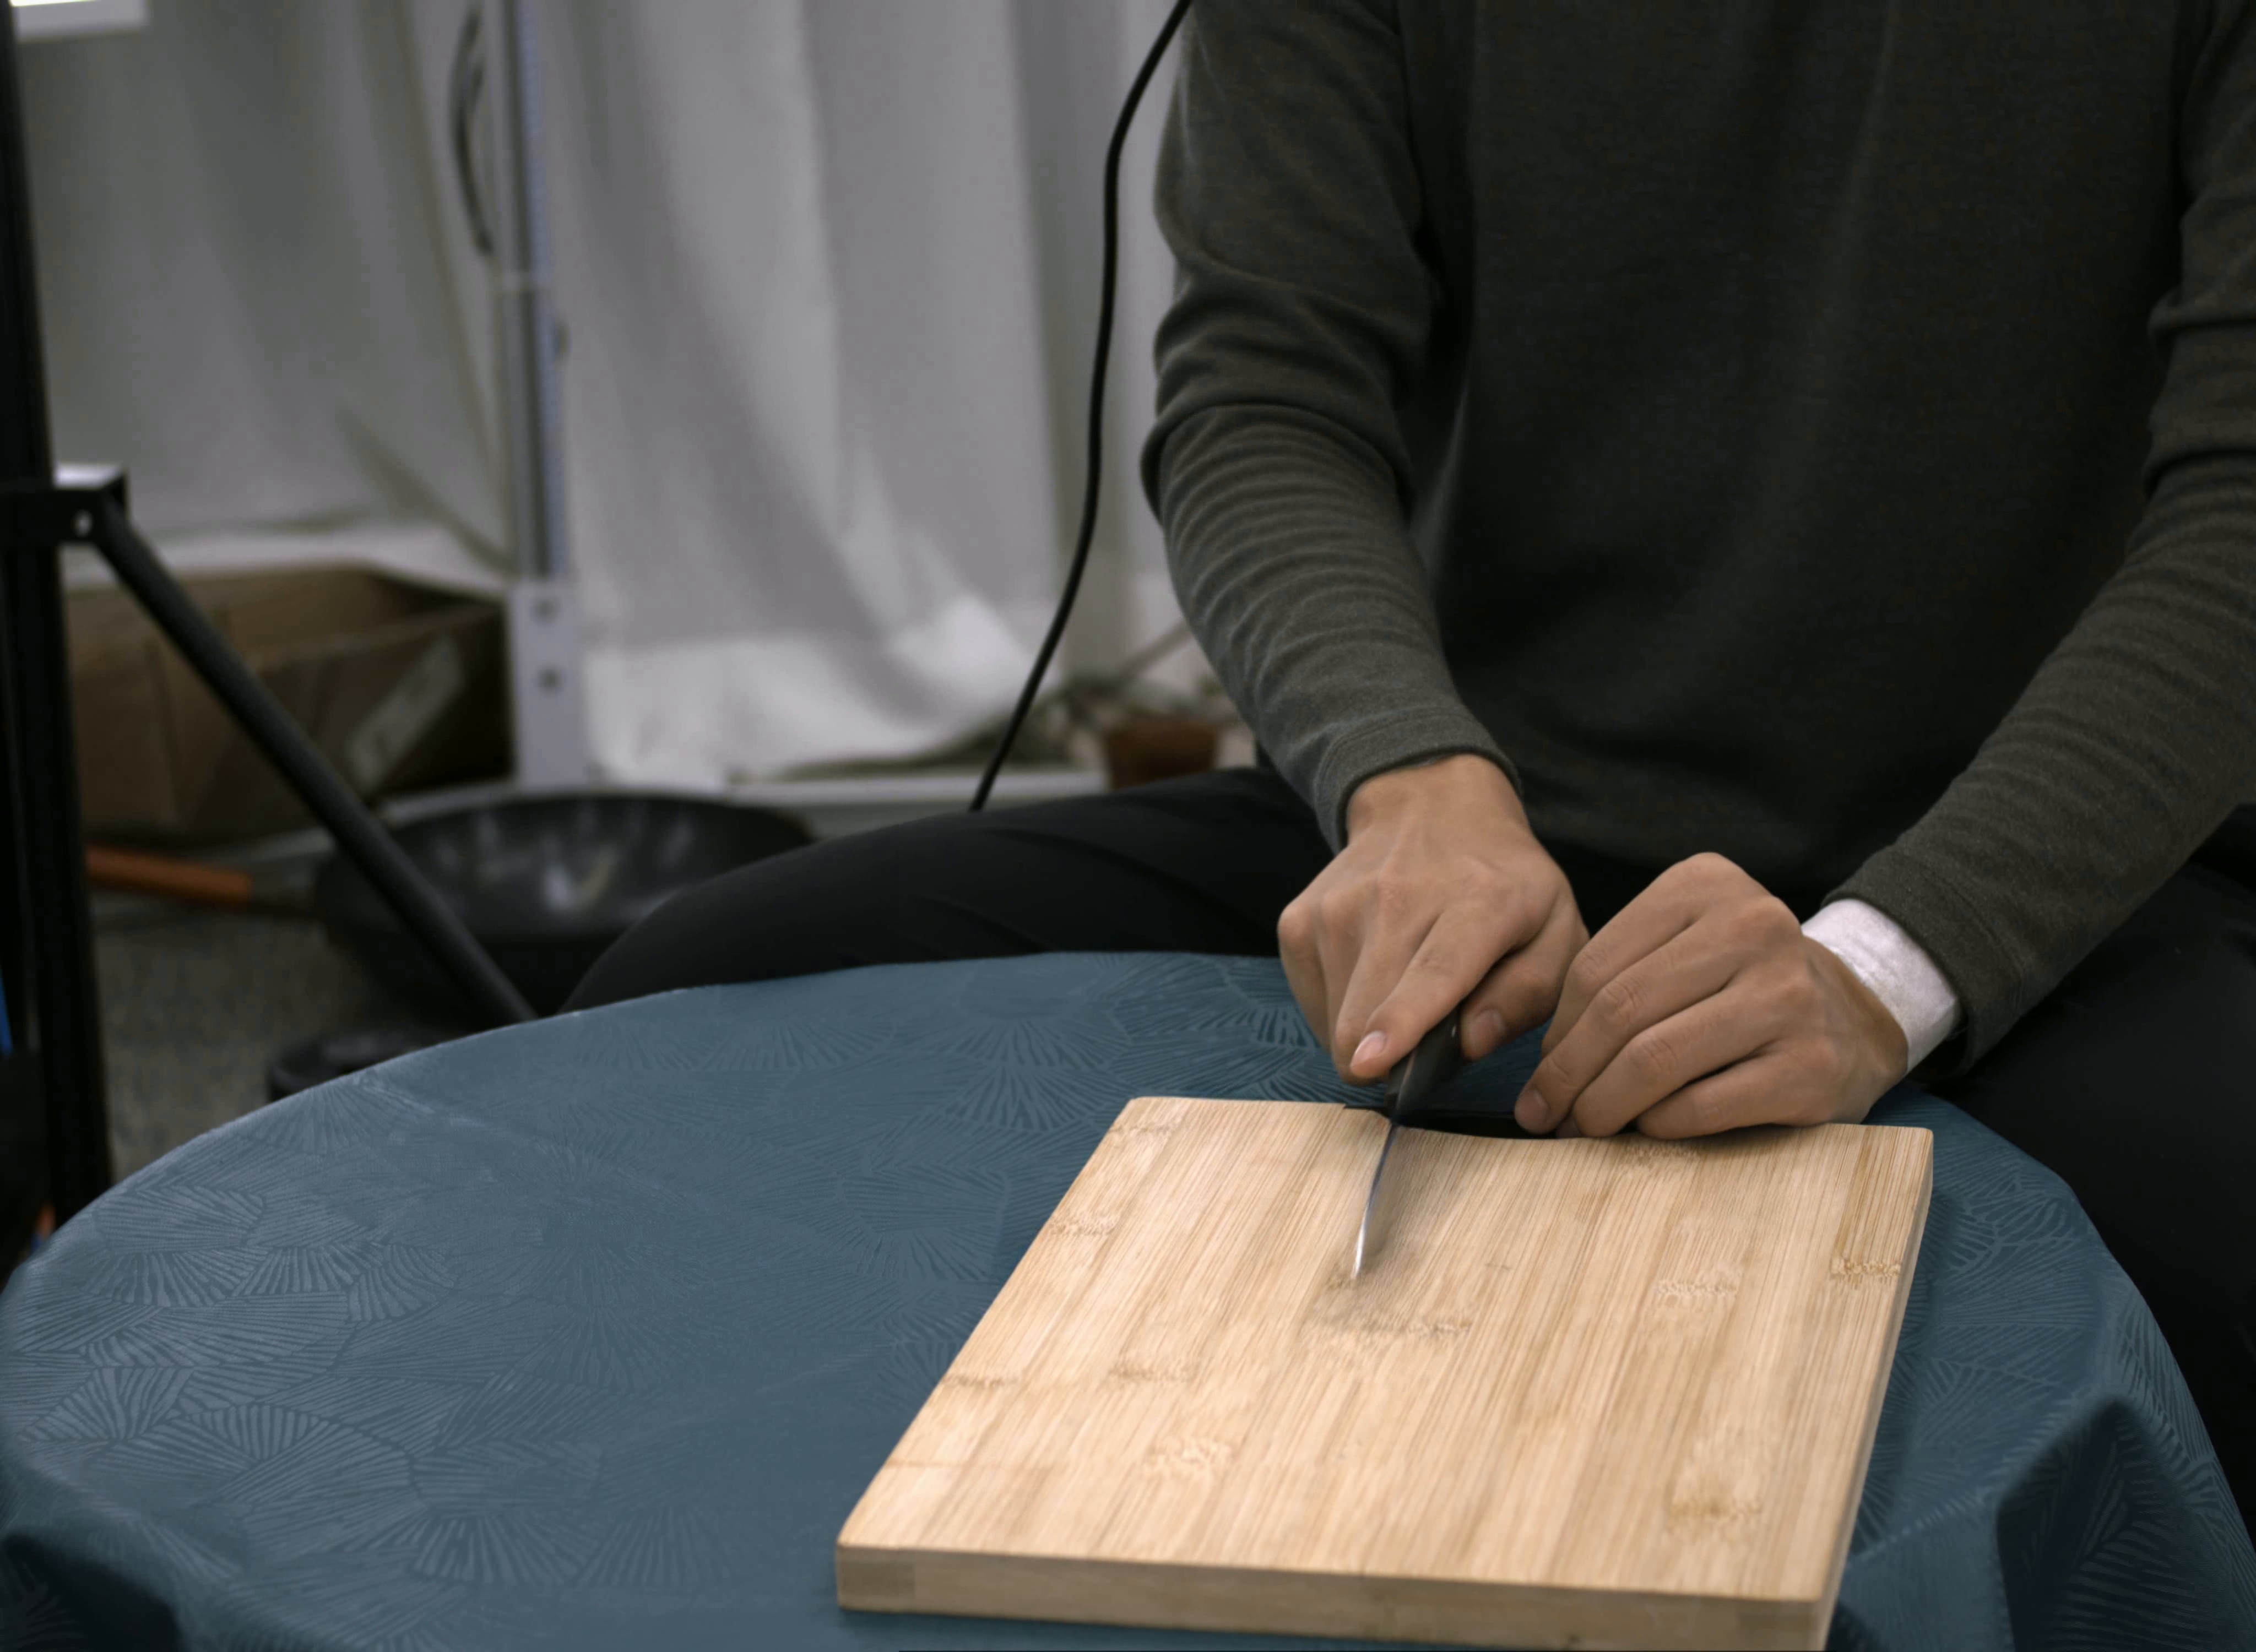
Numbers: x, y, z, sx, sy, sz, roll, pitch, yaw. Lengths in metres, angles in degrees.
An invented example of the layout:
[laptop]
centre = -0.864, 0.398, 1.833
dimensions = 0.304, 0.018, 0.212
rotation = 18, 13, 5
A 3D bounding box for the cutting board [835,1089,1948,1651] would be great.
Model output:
[cutting board]
centre = 0.084, 0.139, 1.412
dimensions = 0.252, 0.023, 0.346
rotation = 2, 16, 12

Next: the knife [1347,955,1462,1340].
[knife]
centre = 0.077, 0.087, 1.496
dimensions = 0.016, 0.024, 0.238
rotation = -3, 21, 11
